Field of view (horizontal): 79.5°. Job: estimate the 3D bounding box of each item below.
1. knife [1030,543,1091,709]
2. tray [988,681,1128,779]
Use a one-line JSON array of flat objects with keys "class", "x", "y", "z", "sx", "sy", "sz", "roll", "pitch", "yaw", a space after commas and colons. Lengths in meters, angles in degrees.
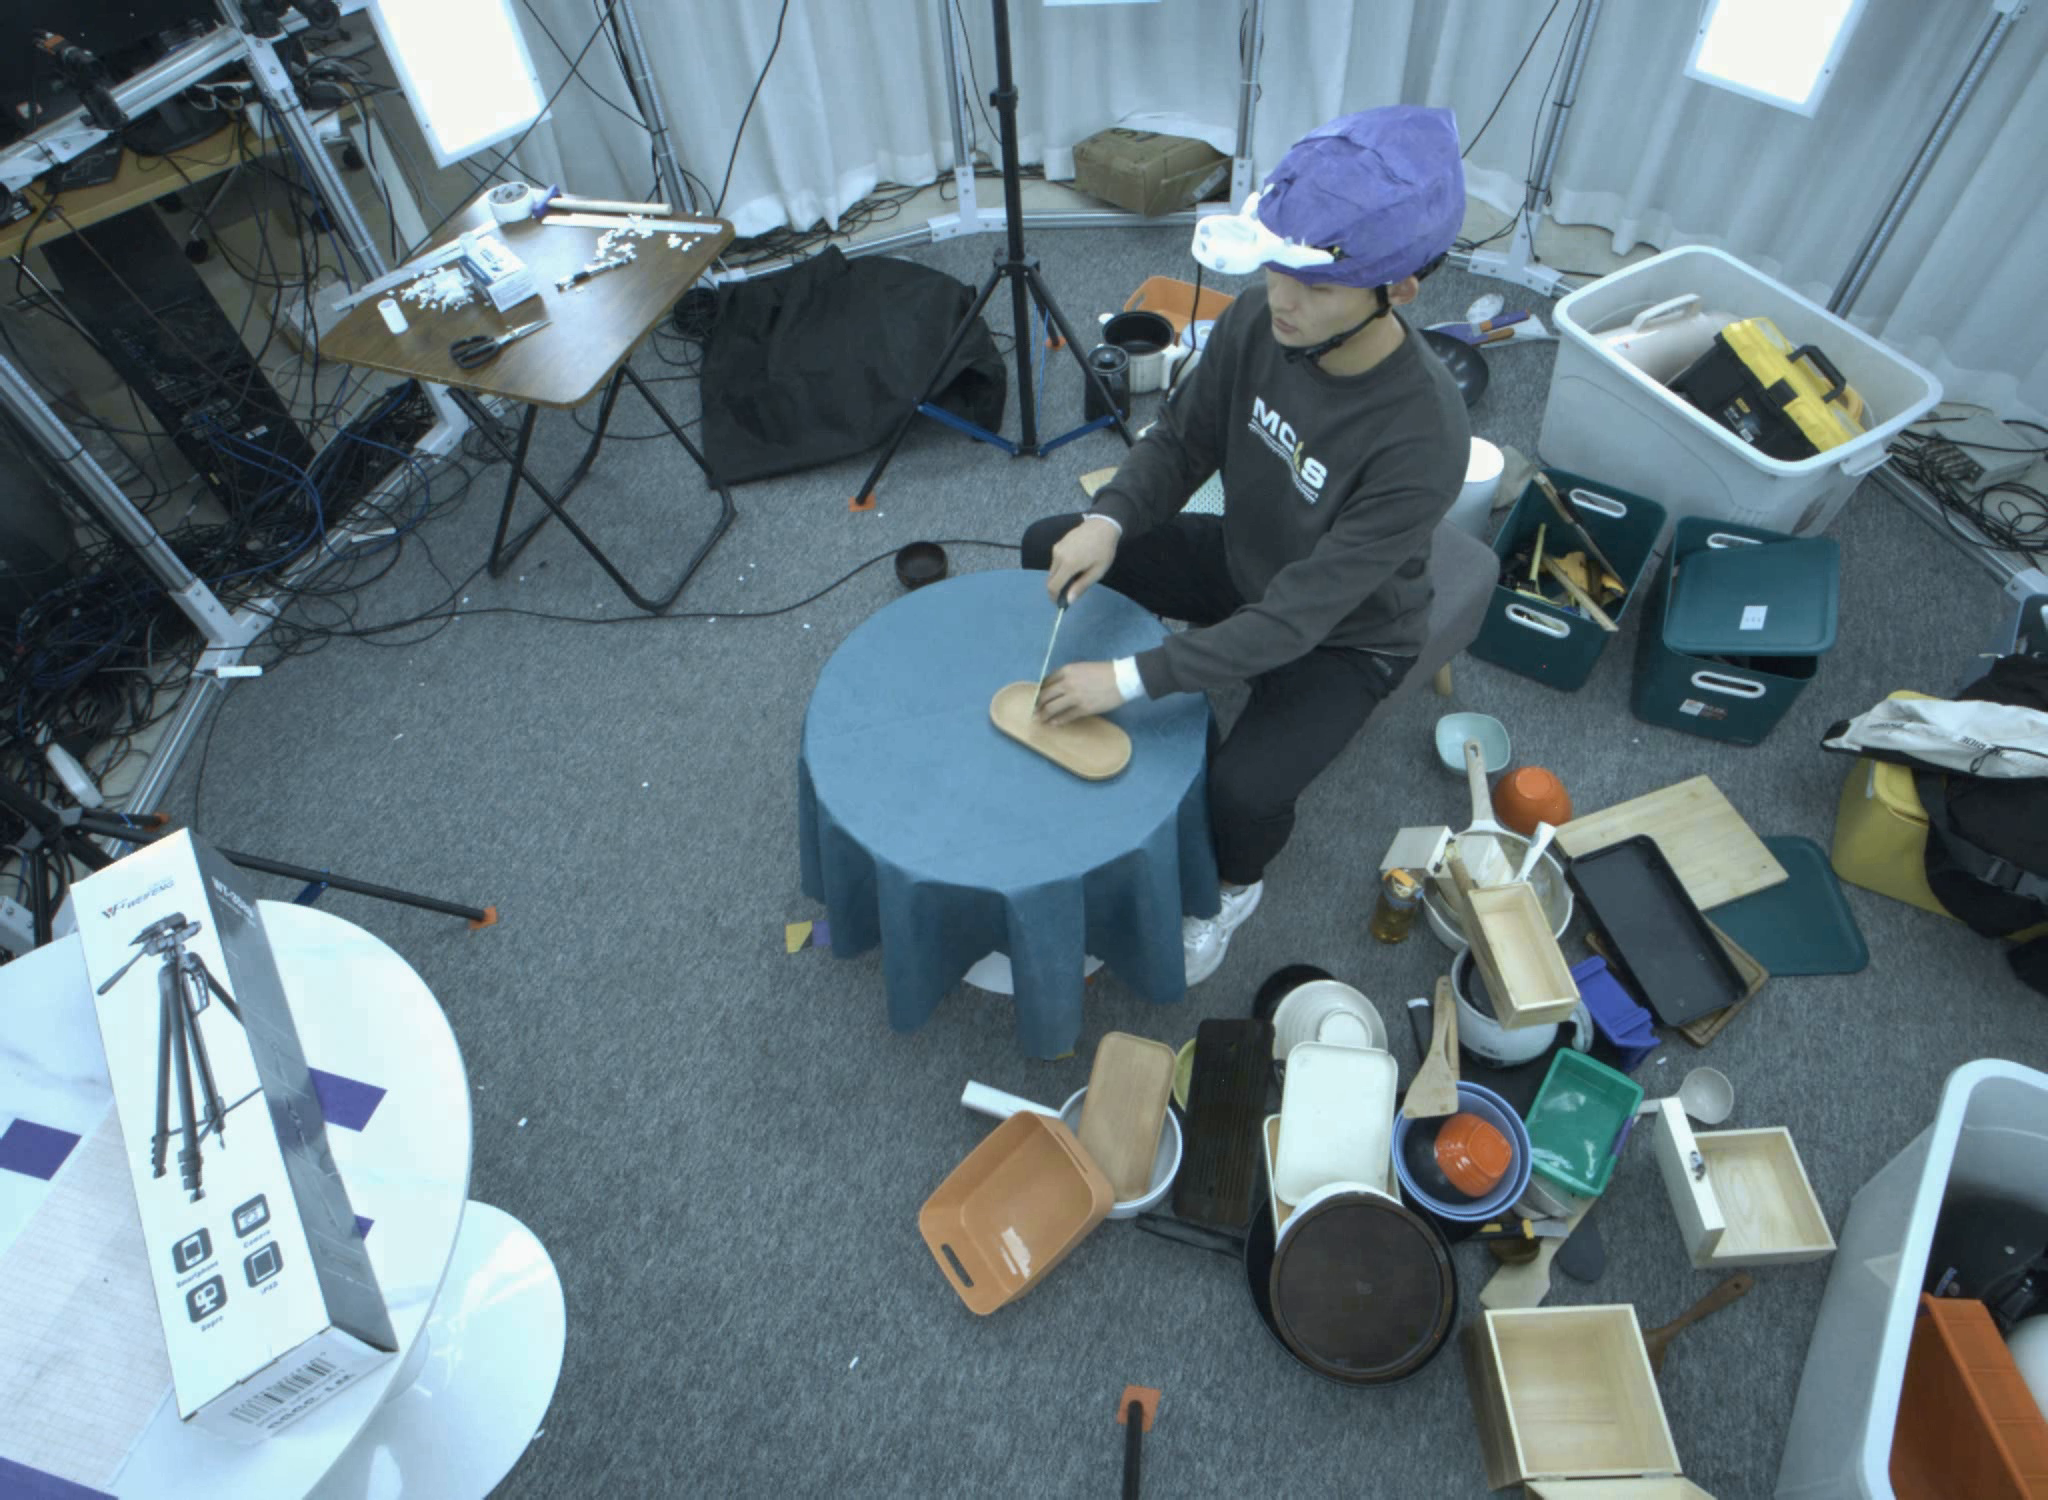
[{"class": "knife", "x": 0.050, "y": -0.185, "z": 1.827, "sx": 0.027, "sy": 0.081, "sz": 0.288, "roll": 20, "pitch": 66, "yaw": -2}, {"class": "tray", "x": 0.049, "y": -0.031, "z": 1.806, "sx": 0.227, "sy": 0.020, "sz": 0.102, "roll": 29, "pitch": 58, "yaw": 22}]
